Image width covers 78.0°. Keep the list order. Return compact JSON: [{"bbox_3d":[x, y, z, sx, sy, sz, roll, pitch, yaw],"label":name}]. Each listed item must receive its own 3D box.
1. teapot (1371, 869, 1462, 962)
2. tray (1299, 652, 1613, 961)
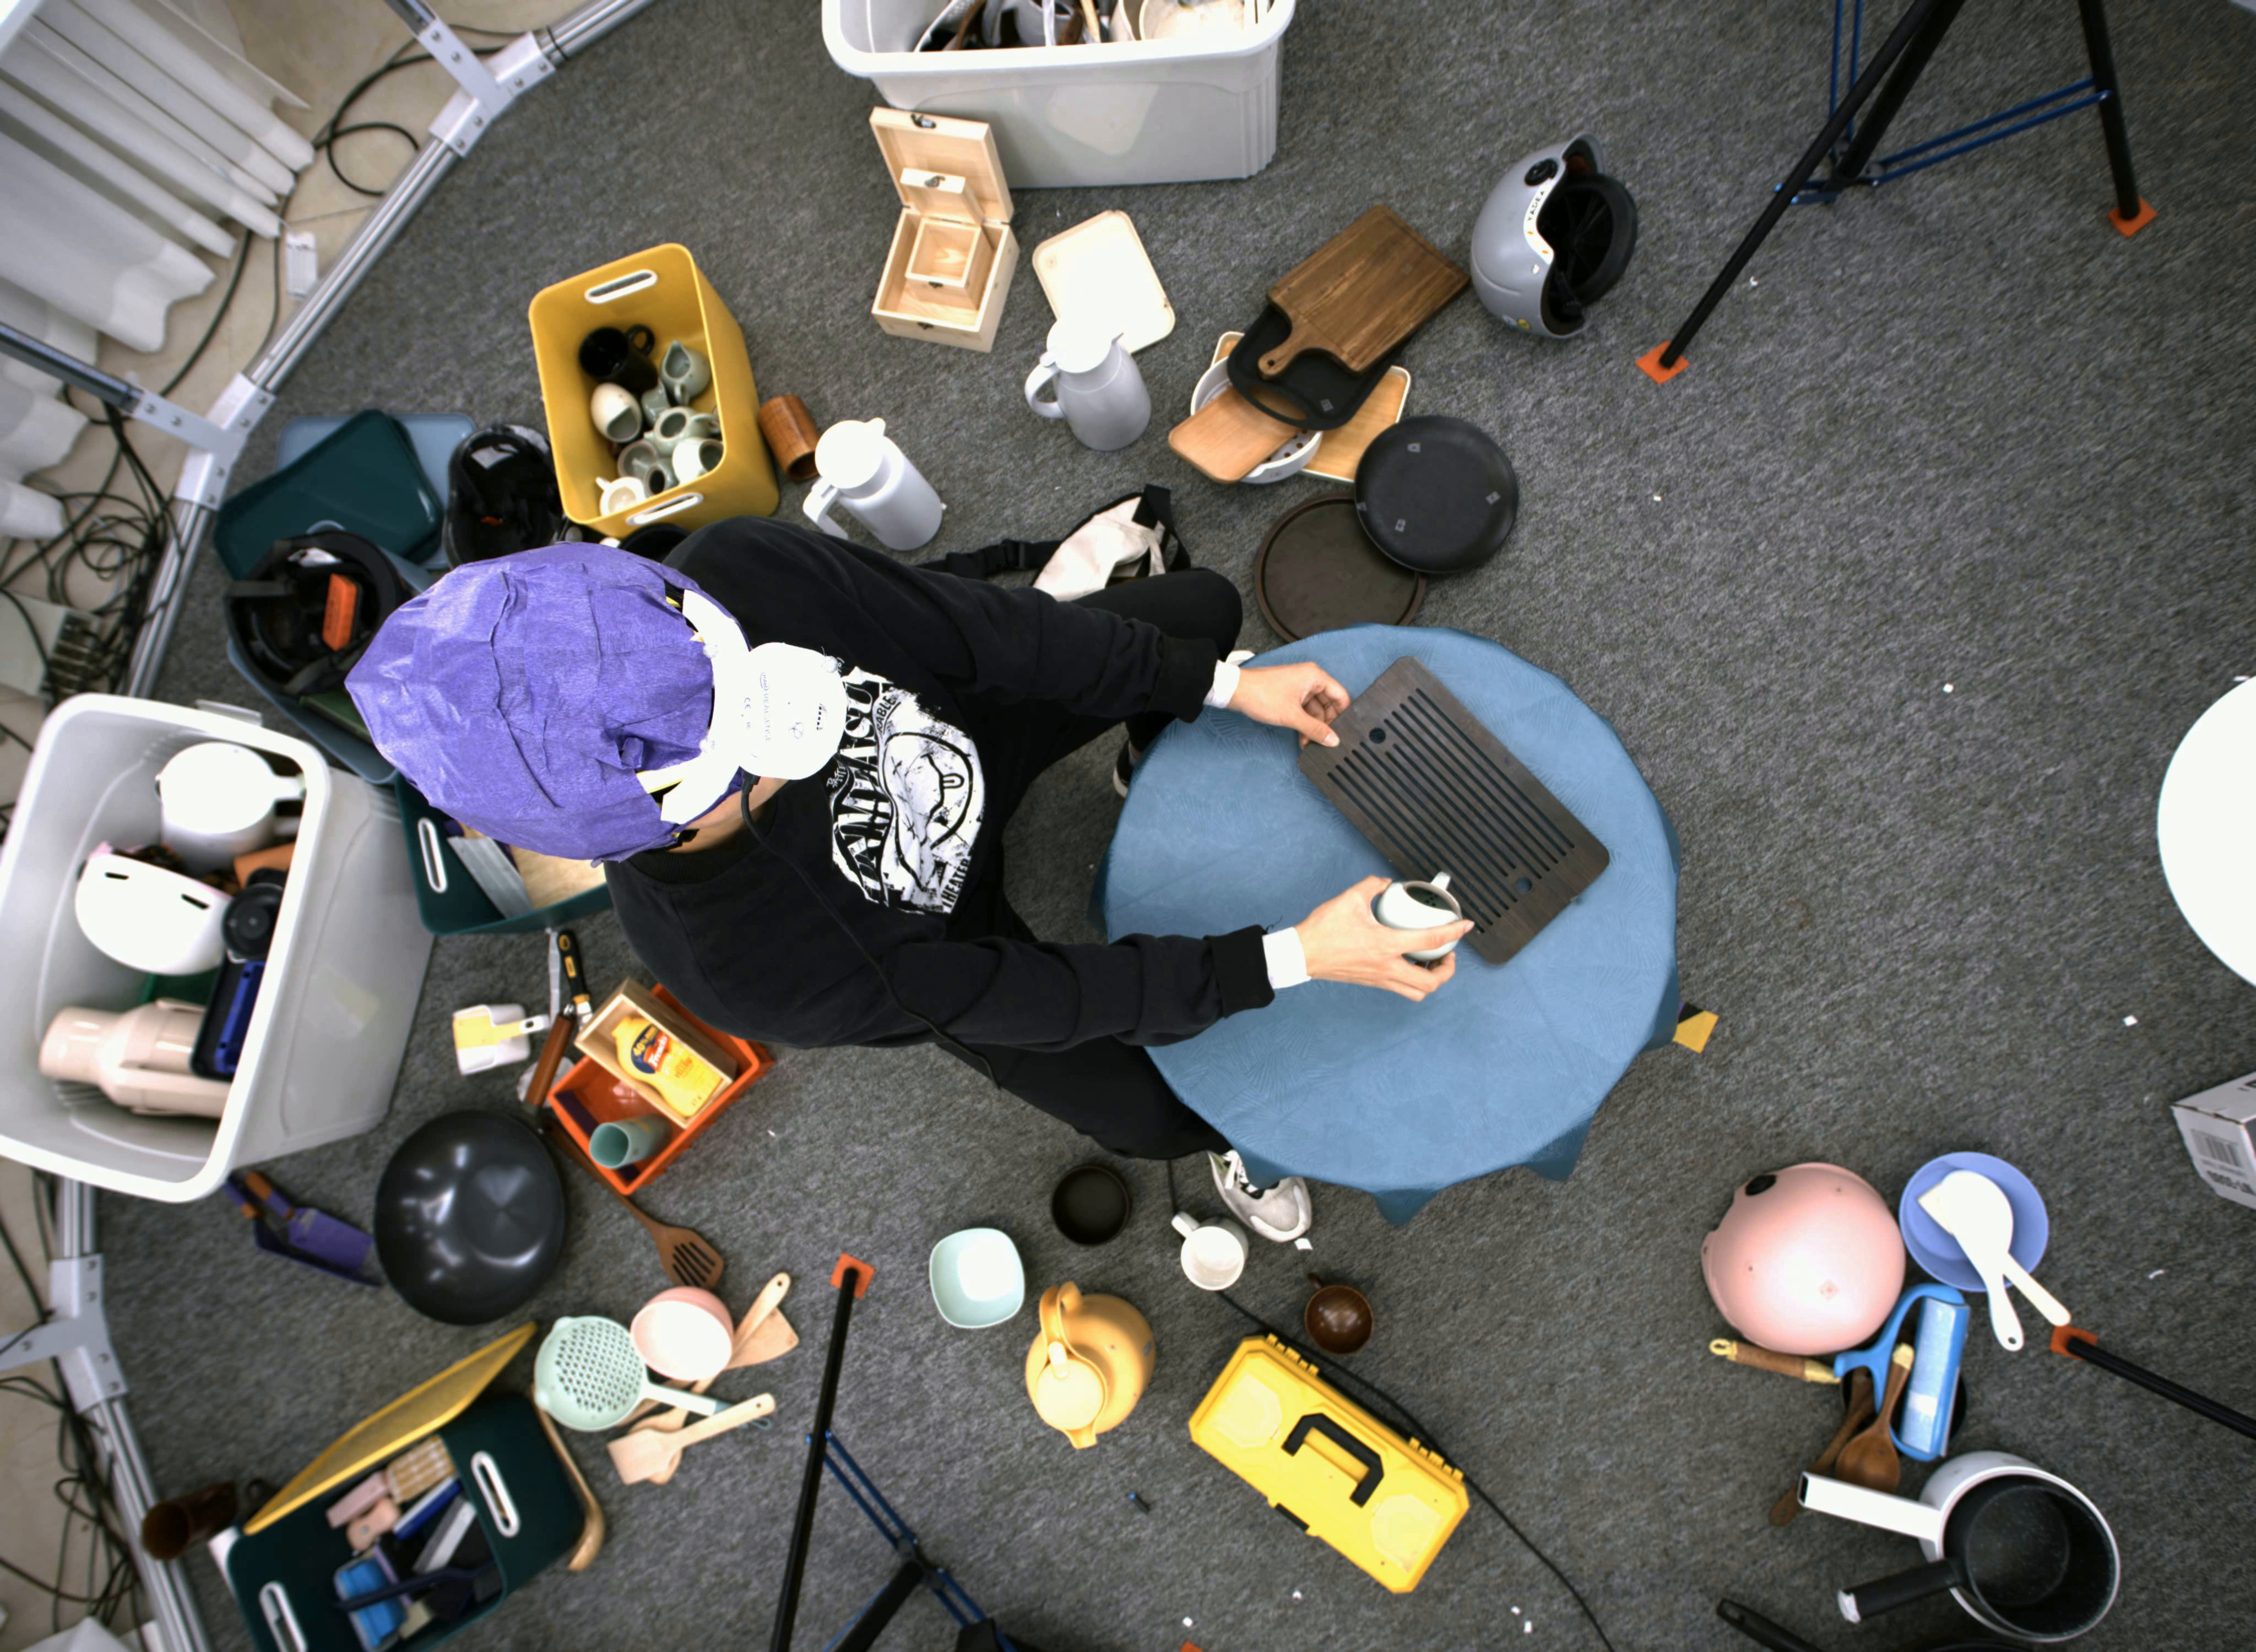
[{"bbox_3d":[0.283,0.090,1.353,0.088,0.141,0.076,28,116,21],"label":"teapot"},{"bbox_3d":[0.339,-0.023,1.433,0.171,0.018,0.305,-44,84,6],"label":"tray"}]
